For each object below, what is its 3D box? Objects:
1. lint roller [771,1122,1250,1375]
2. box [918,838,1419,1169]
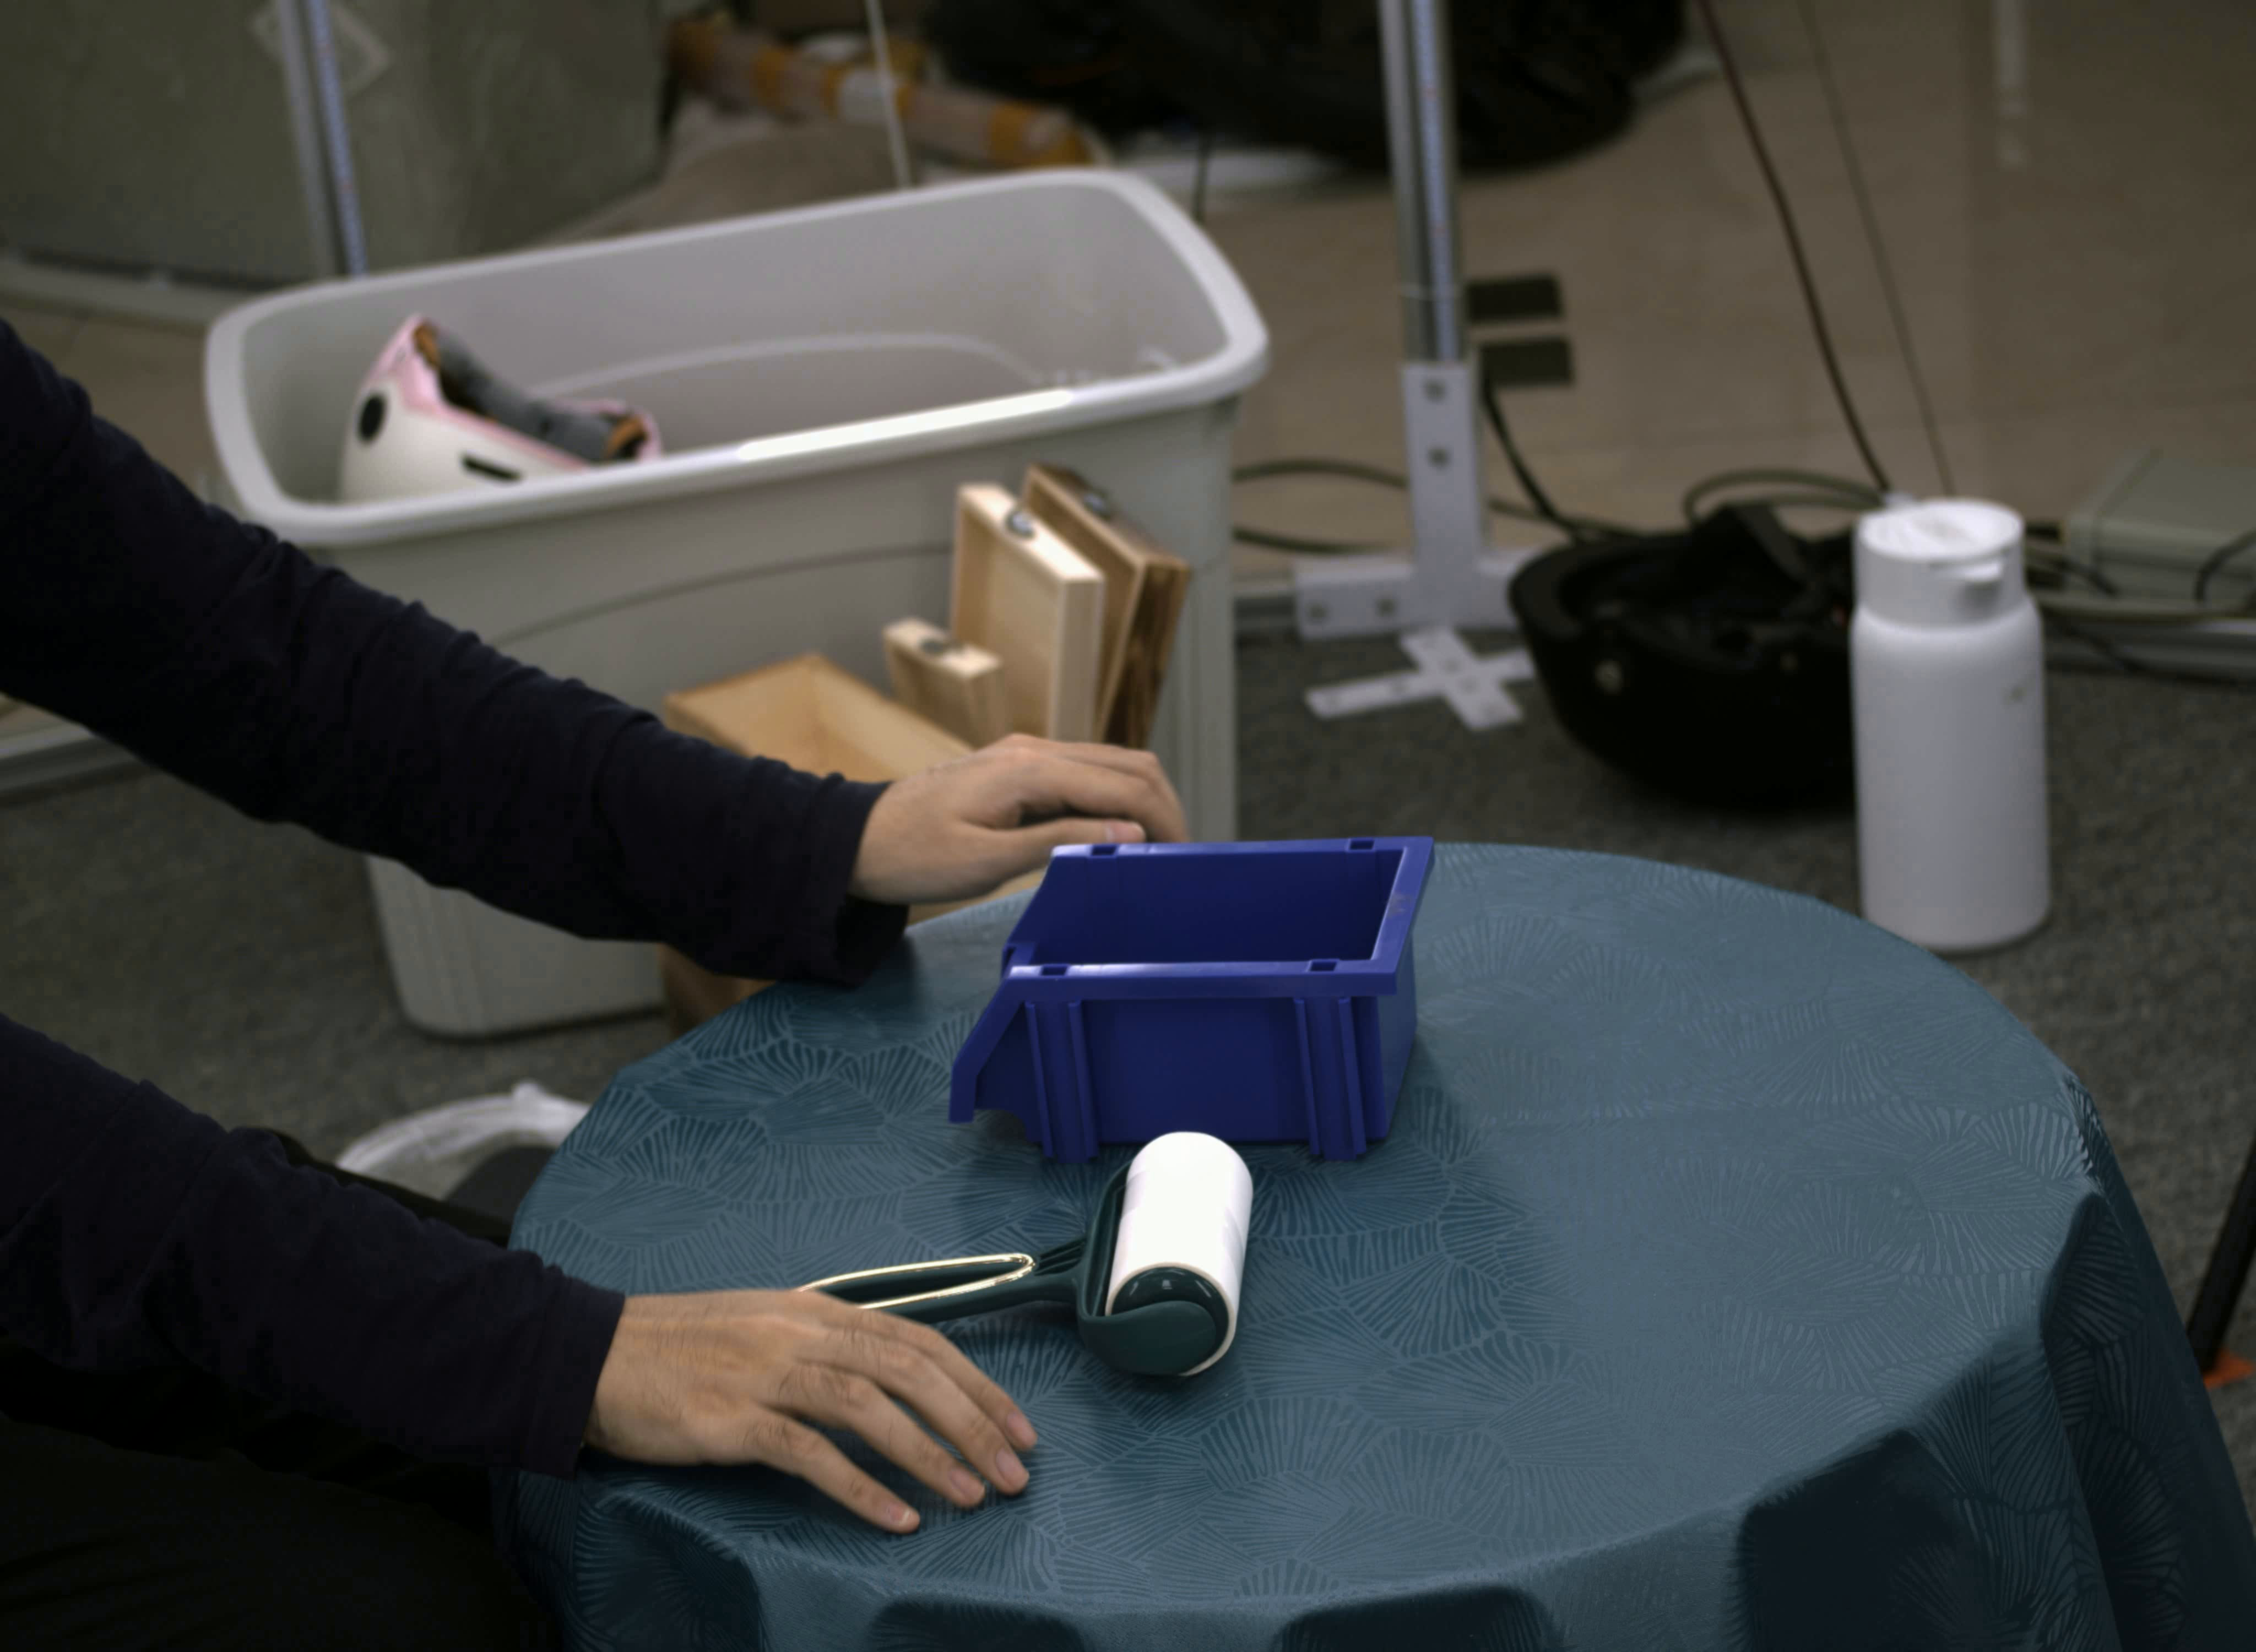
[{"bbox_3d":[-0.047,0.163,2.066,0.180,0.049,0.132,-8,25,9],"label":"lint roller"},{"bbox_3d":[0.016,0.068,2.203,0.179,0.083,0.122,2,27,12],"label":"box"}]
